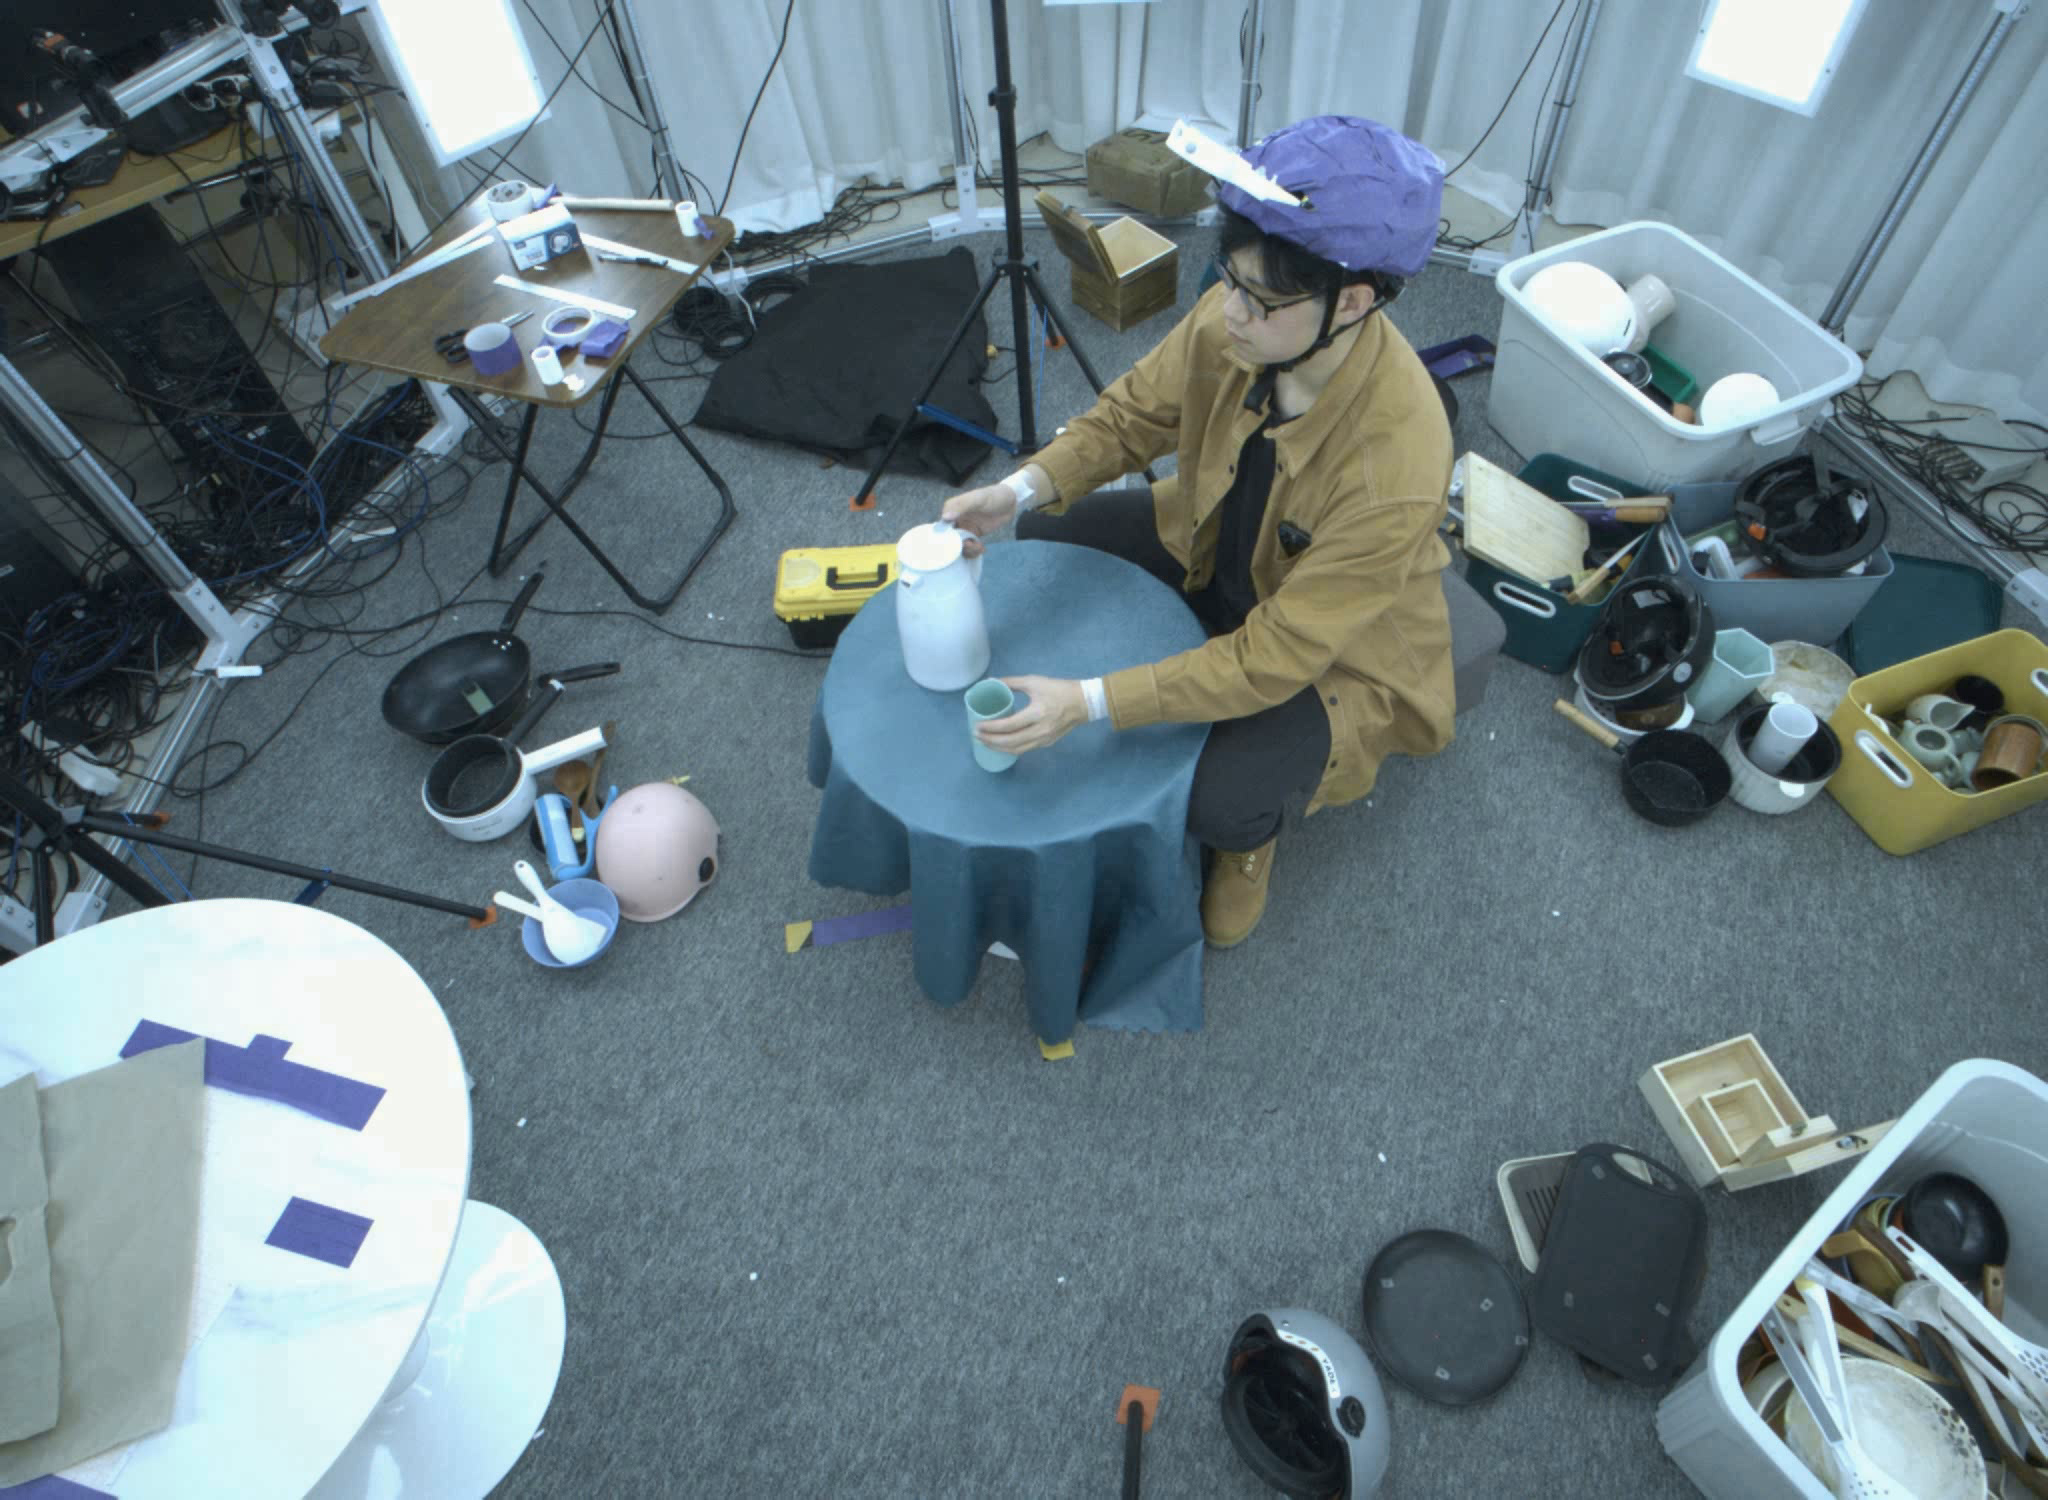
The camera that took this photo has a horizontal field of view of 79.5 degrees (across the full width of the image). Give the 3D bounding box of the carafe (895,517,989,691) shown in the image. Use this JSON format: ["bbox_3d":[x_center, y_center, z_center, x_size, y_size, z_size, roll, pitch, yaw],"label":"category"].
[{"bbox_3d":[-0.118,-0.228,1.797,0.130,0.251,0.168,24,59,20],"label":"carafe"}]

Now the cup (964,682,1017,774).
[{"bbox_3d":[-0.044,-0.031,1.730,0.066,0.134,0.066,-1,55,3],"label":"cup"}]
